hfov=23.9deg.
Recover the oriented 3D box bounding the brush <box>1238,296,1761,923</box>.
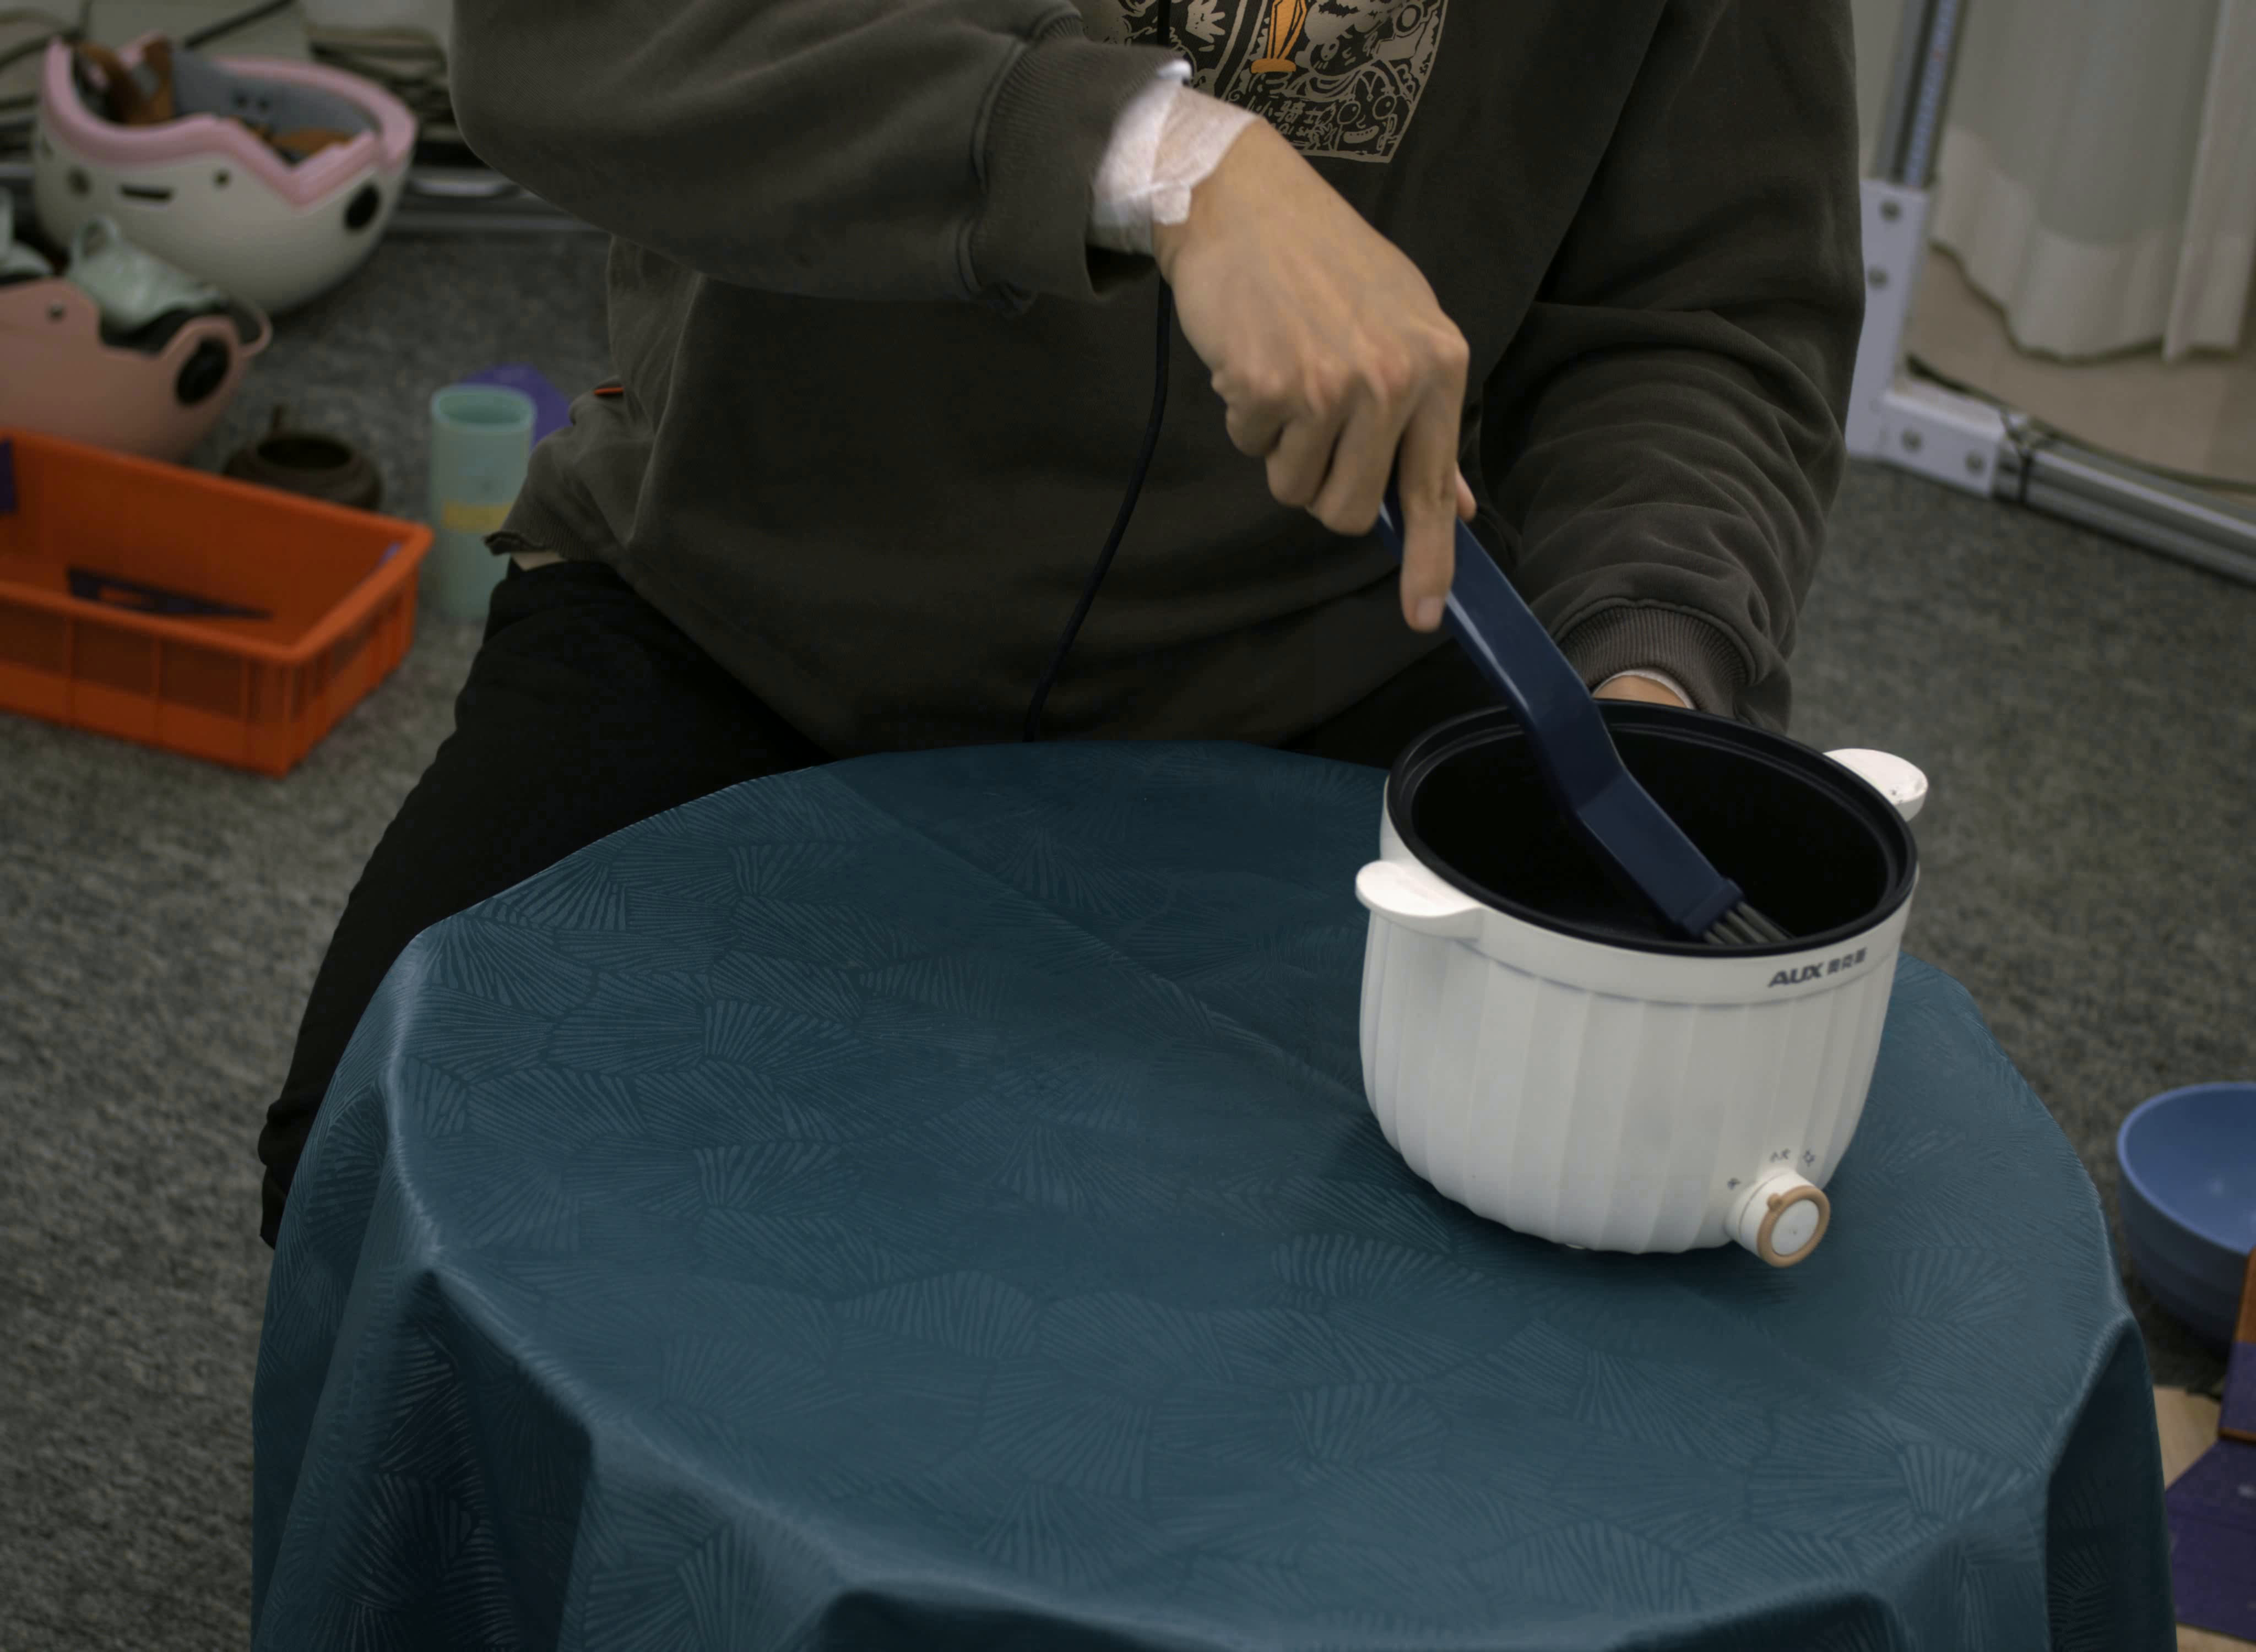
[{"bbox_3d":[0.132,-0.059,1.796,0.033,0.272,0.096,-39,17,-12],"label":"brush"}]

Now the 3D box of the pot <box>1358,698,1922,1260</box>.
[{"bbox_3d":[0.175,0.057,1.819,0.239,0.142,0.192,-14,29,-33],"label":"pot"}]
